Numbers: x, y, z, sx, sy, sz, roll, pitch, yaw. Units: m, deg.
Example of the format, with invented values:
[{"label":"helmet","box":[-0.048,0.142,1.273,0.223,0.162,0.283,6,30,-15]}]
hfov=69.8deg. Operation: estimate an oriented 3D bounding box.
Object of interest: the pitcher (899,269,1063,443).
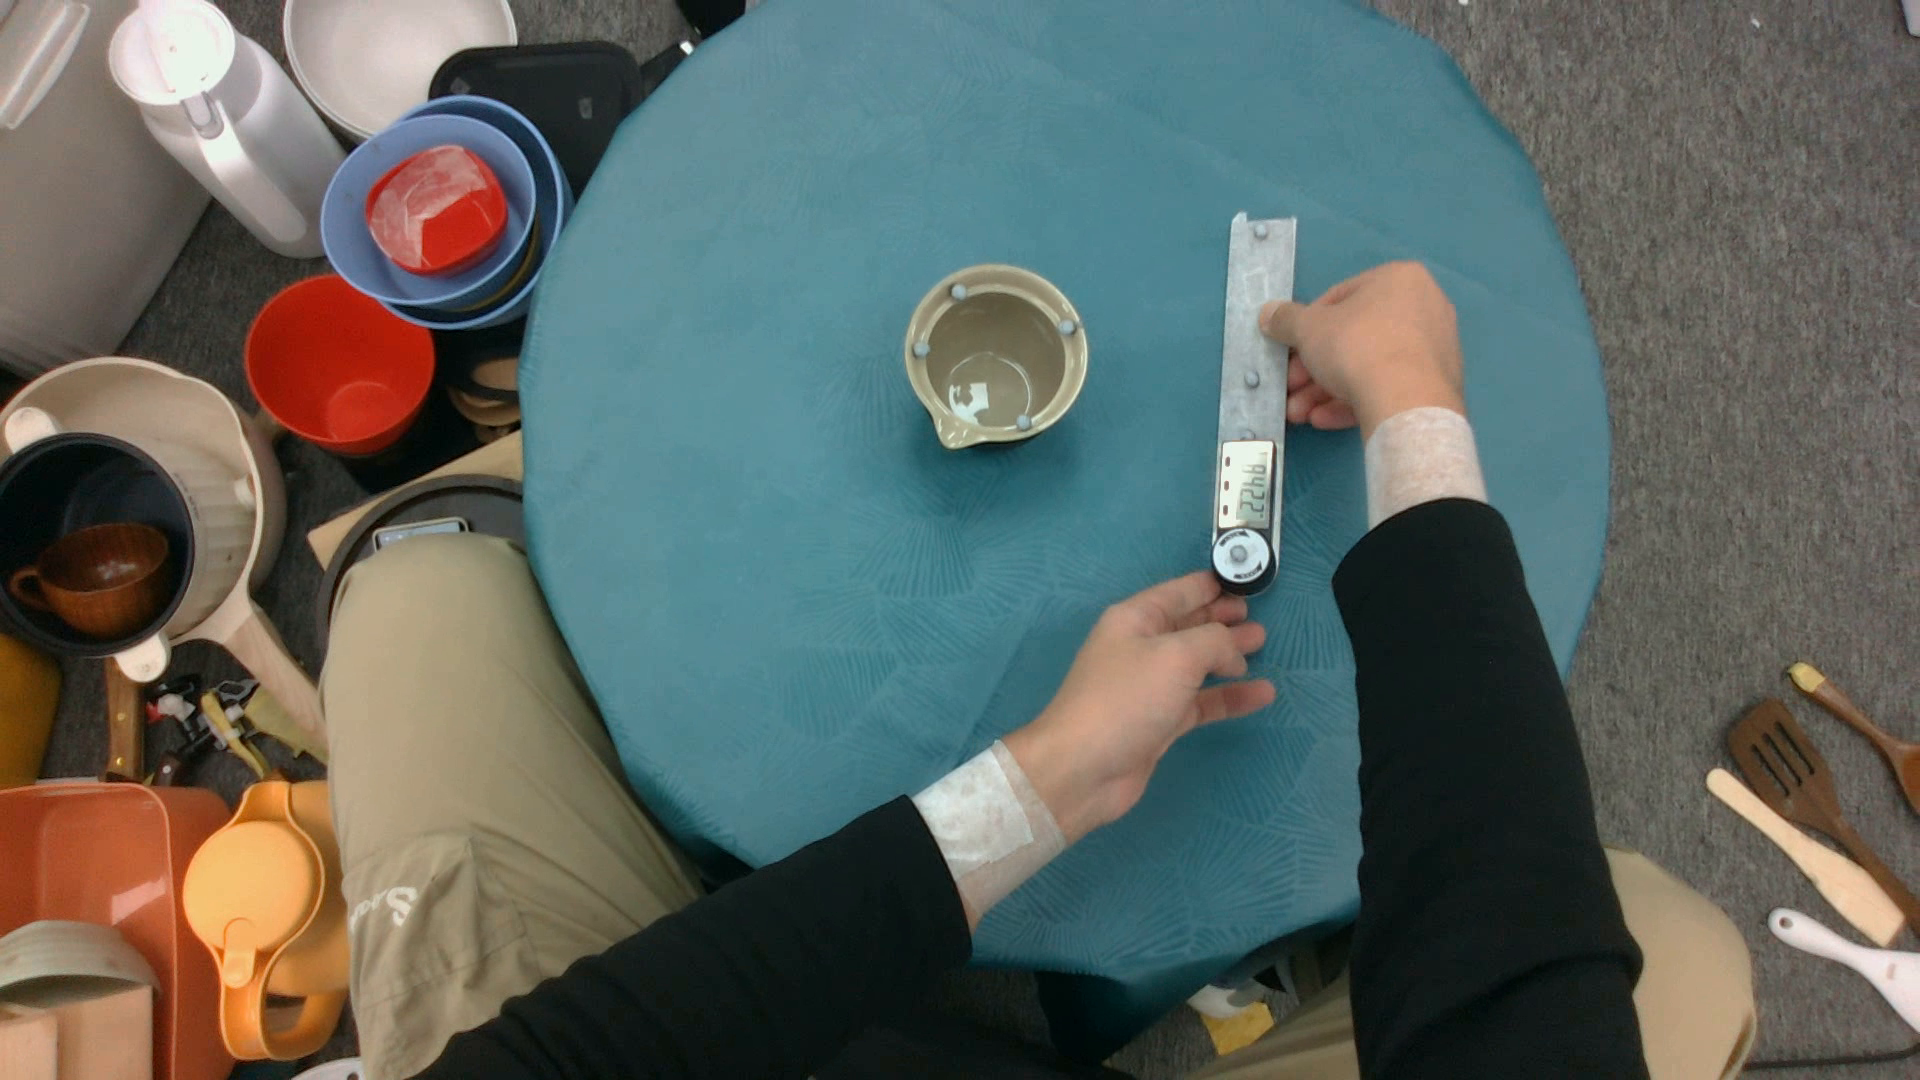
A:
[{"label":"pitcher","box":[0.007,-0.086,0.720,0.083,0.071,0.096,26,75,2]}]

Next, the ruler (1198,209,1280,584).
[{"label":"ruler","box":[0.152,-0.084,0.748,0.038,0.024,0.218,3,76,10]}]
